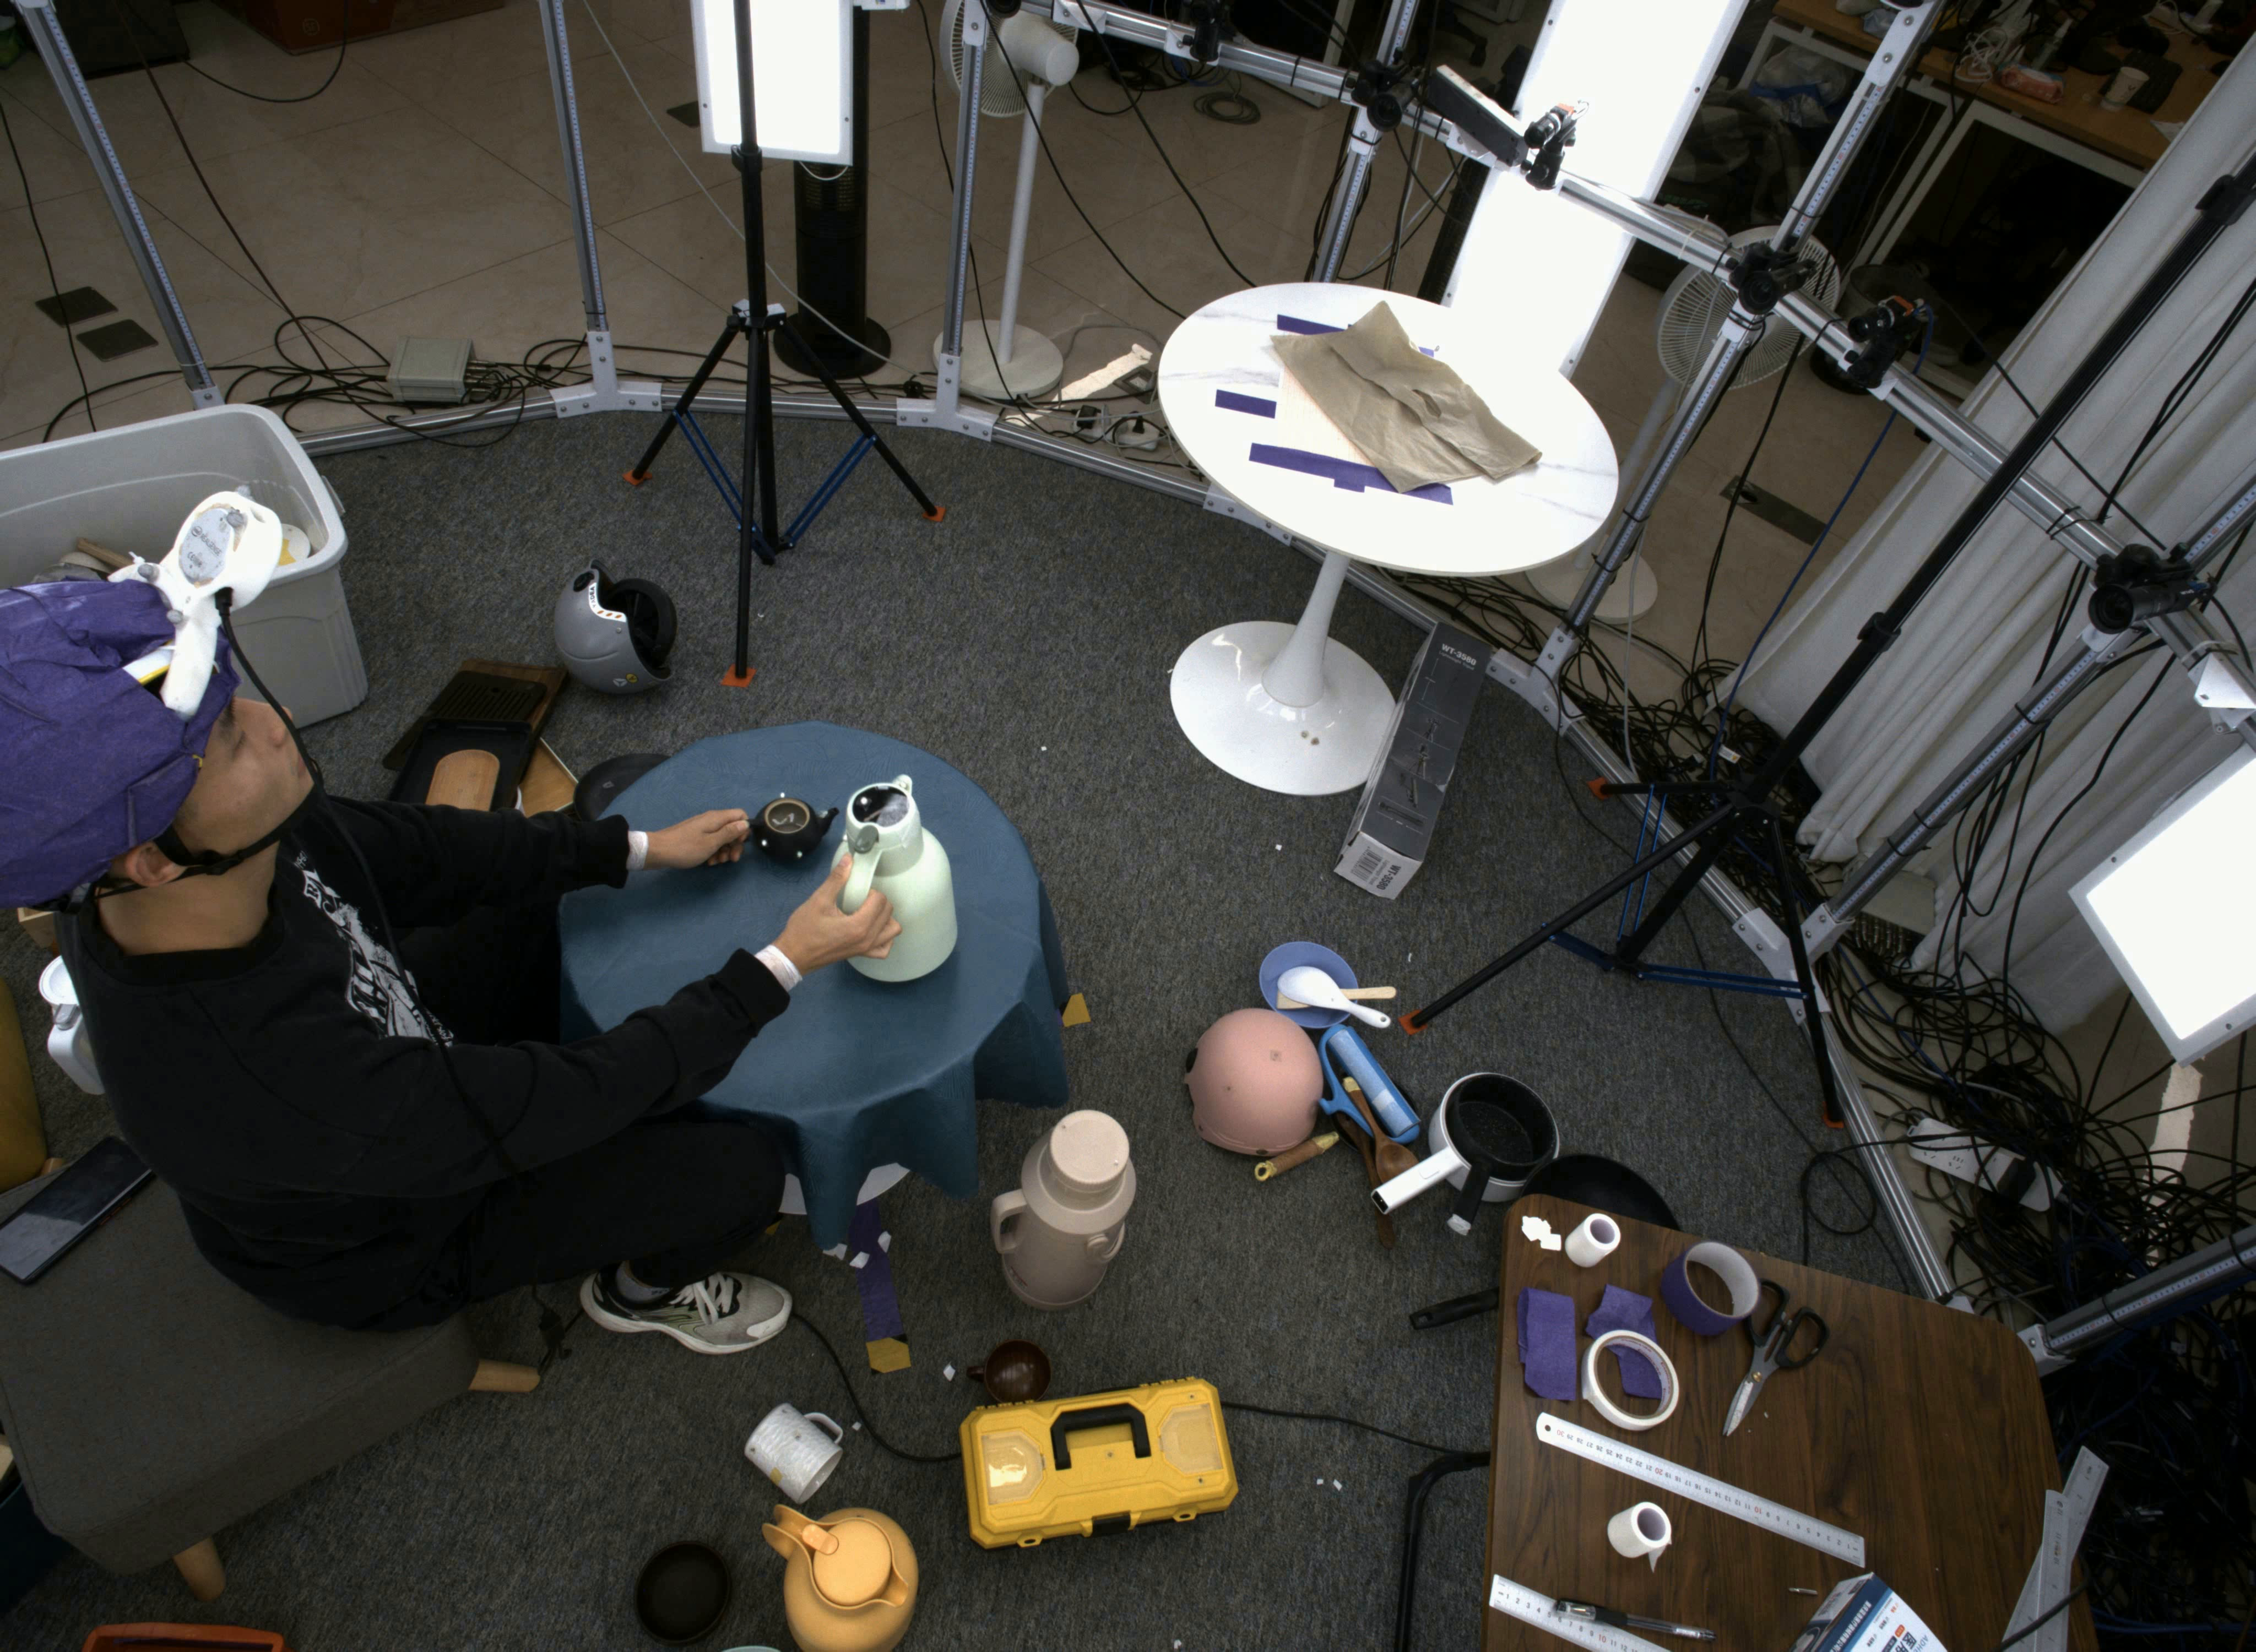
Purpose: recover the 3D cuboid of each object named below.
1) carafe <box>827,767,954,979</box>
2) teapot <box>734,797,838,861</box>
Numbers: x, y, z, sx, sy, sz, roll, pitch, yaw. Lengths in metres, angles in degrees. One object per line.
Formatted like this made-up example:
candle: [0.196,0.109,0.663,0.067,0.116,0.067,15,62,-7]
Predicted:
carafe: [-0.285,0.065,1.517,0.142,0.263,0.184,11,53,4]
teapot: [-0.441,0.002,1.673,0.134,0.054,0.088,-8,53,-22]
